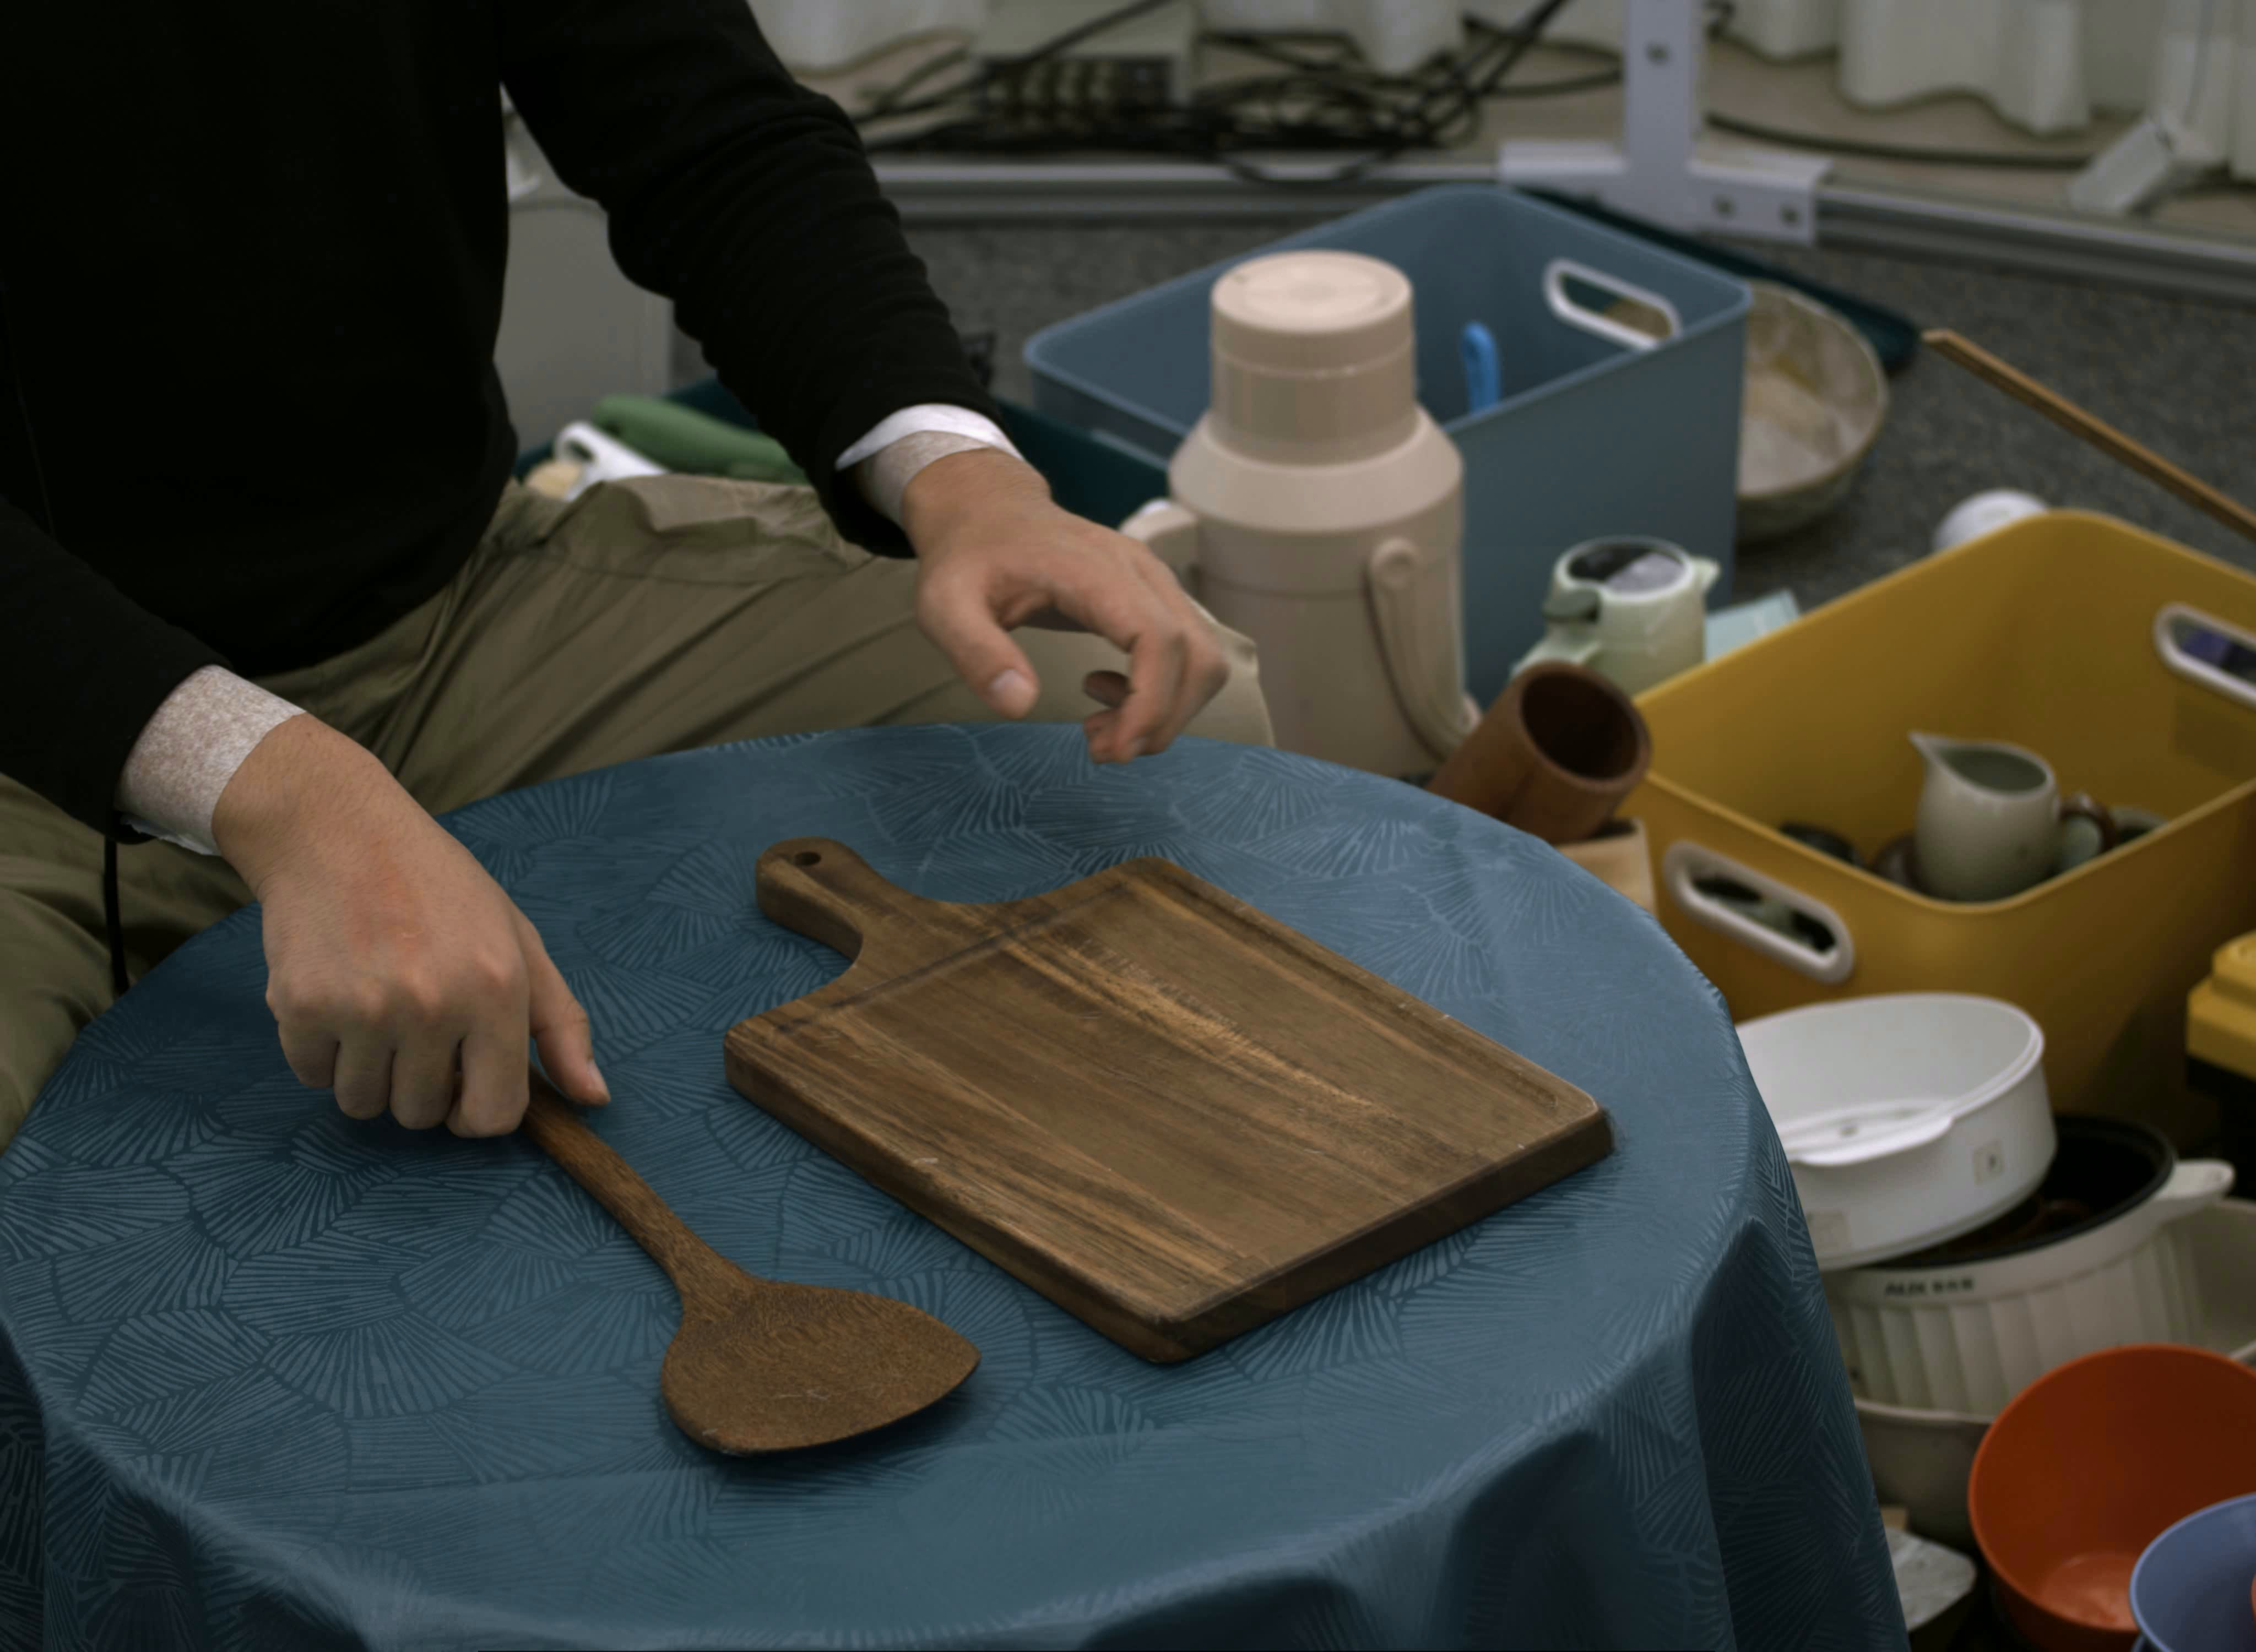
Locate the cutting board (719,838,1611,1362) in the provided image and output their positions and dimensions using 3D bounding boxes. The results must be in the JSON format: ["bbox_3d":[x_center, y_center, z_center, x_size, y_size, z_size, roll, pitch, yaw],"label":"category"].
[{"bbox_3d":[-0.020,0.073,1.935,0.203,0.023,0.352,-22,33,-33],"label":"cutting board"}]

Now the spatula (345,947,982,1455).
[{"bbox_3d":[-0.176,0.116,1.872,0.097,0.015,0.387,-16,30,-27],"label":"spatula"}]
